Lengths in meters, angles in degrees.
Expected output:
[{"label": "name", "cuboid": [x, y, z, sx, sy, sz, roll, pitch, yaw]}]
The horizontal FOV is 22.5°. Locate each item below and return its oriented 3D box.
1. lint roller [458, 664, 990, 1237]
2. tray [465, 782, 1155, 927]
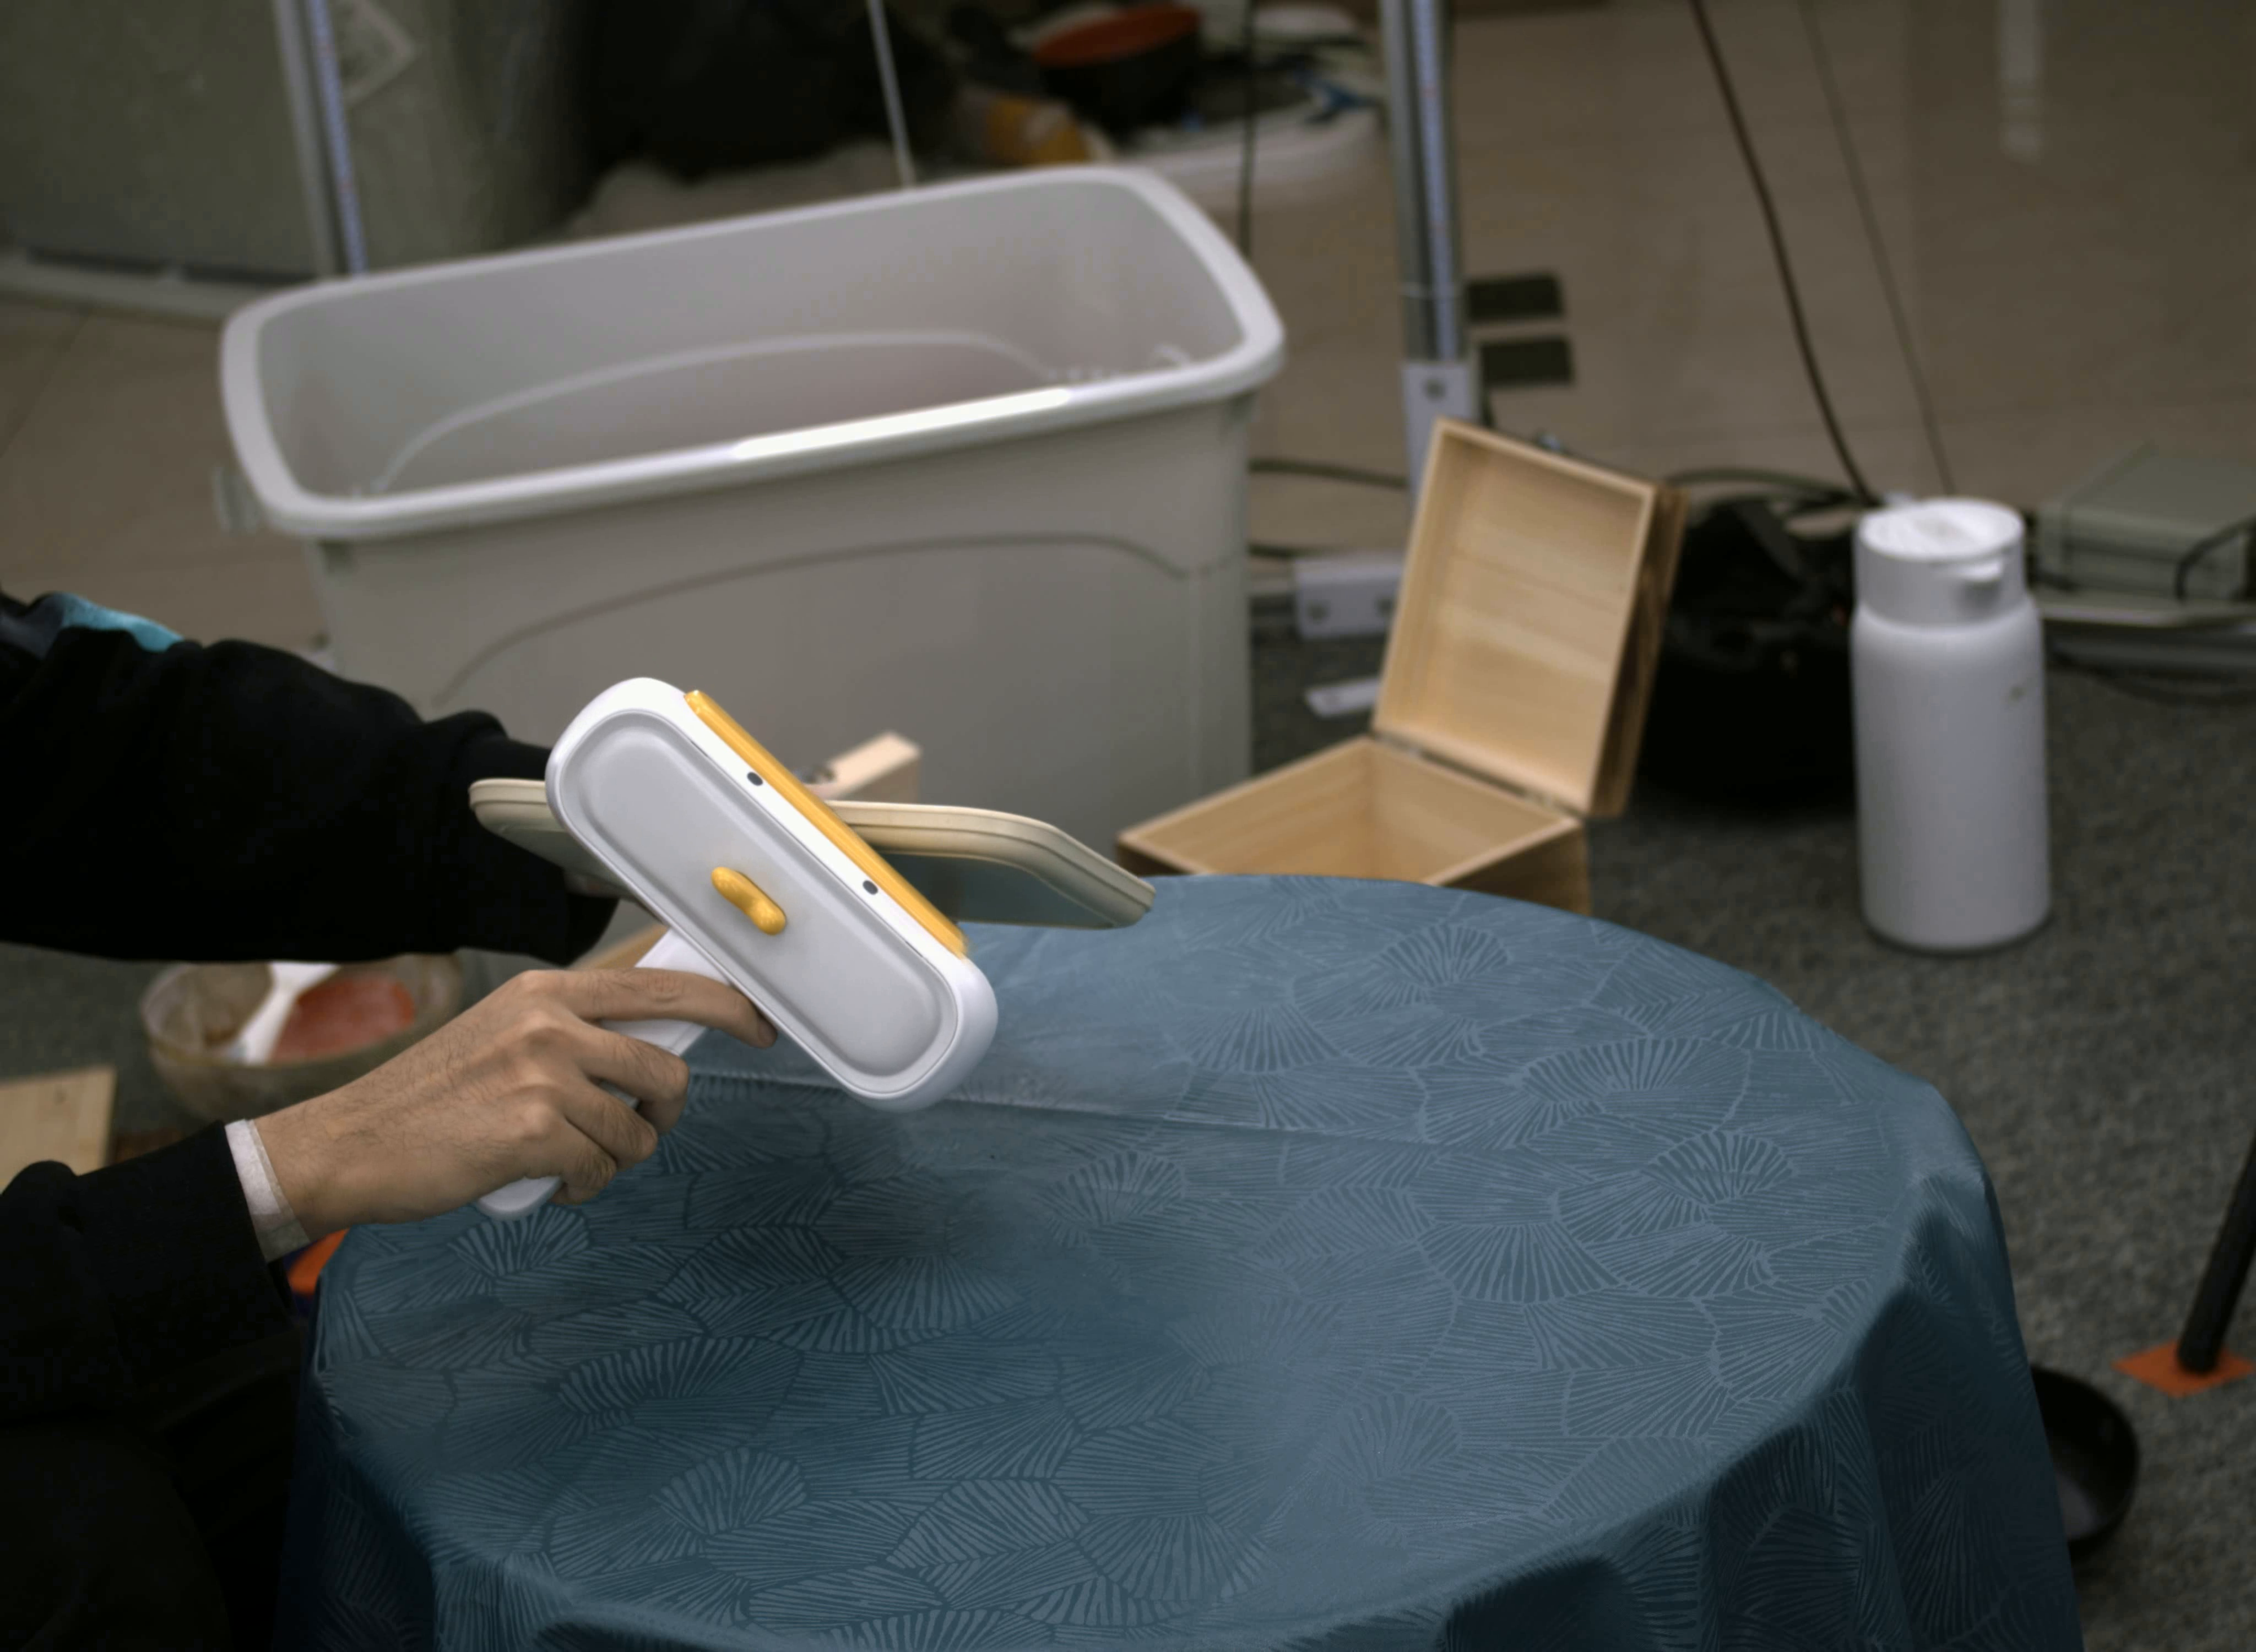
[{"label": "lint roller", "cuboid": [-0.171, 0.065, 2.041, 0.192, 0.193, 0.074, -51, 3, -1]}, {"label": "tray", "cuboid": [-0.121, 0.013, 2.159, 0.239, 0.017, 0.172, 3, -10, 20]}]
